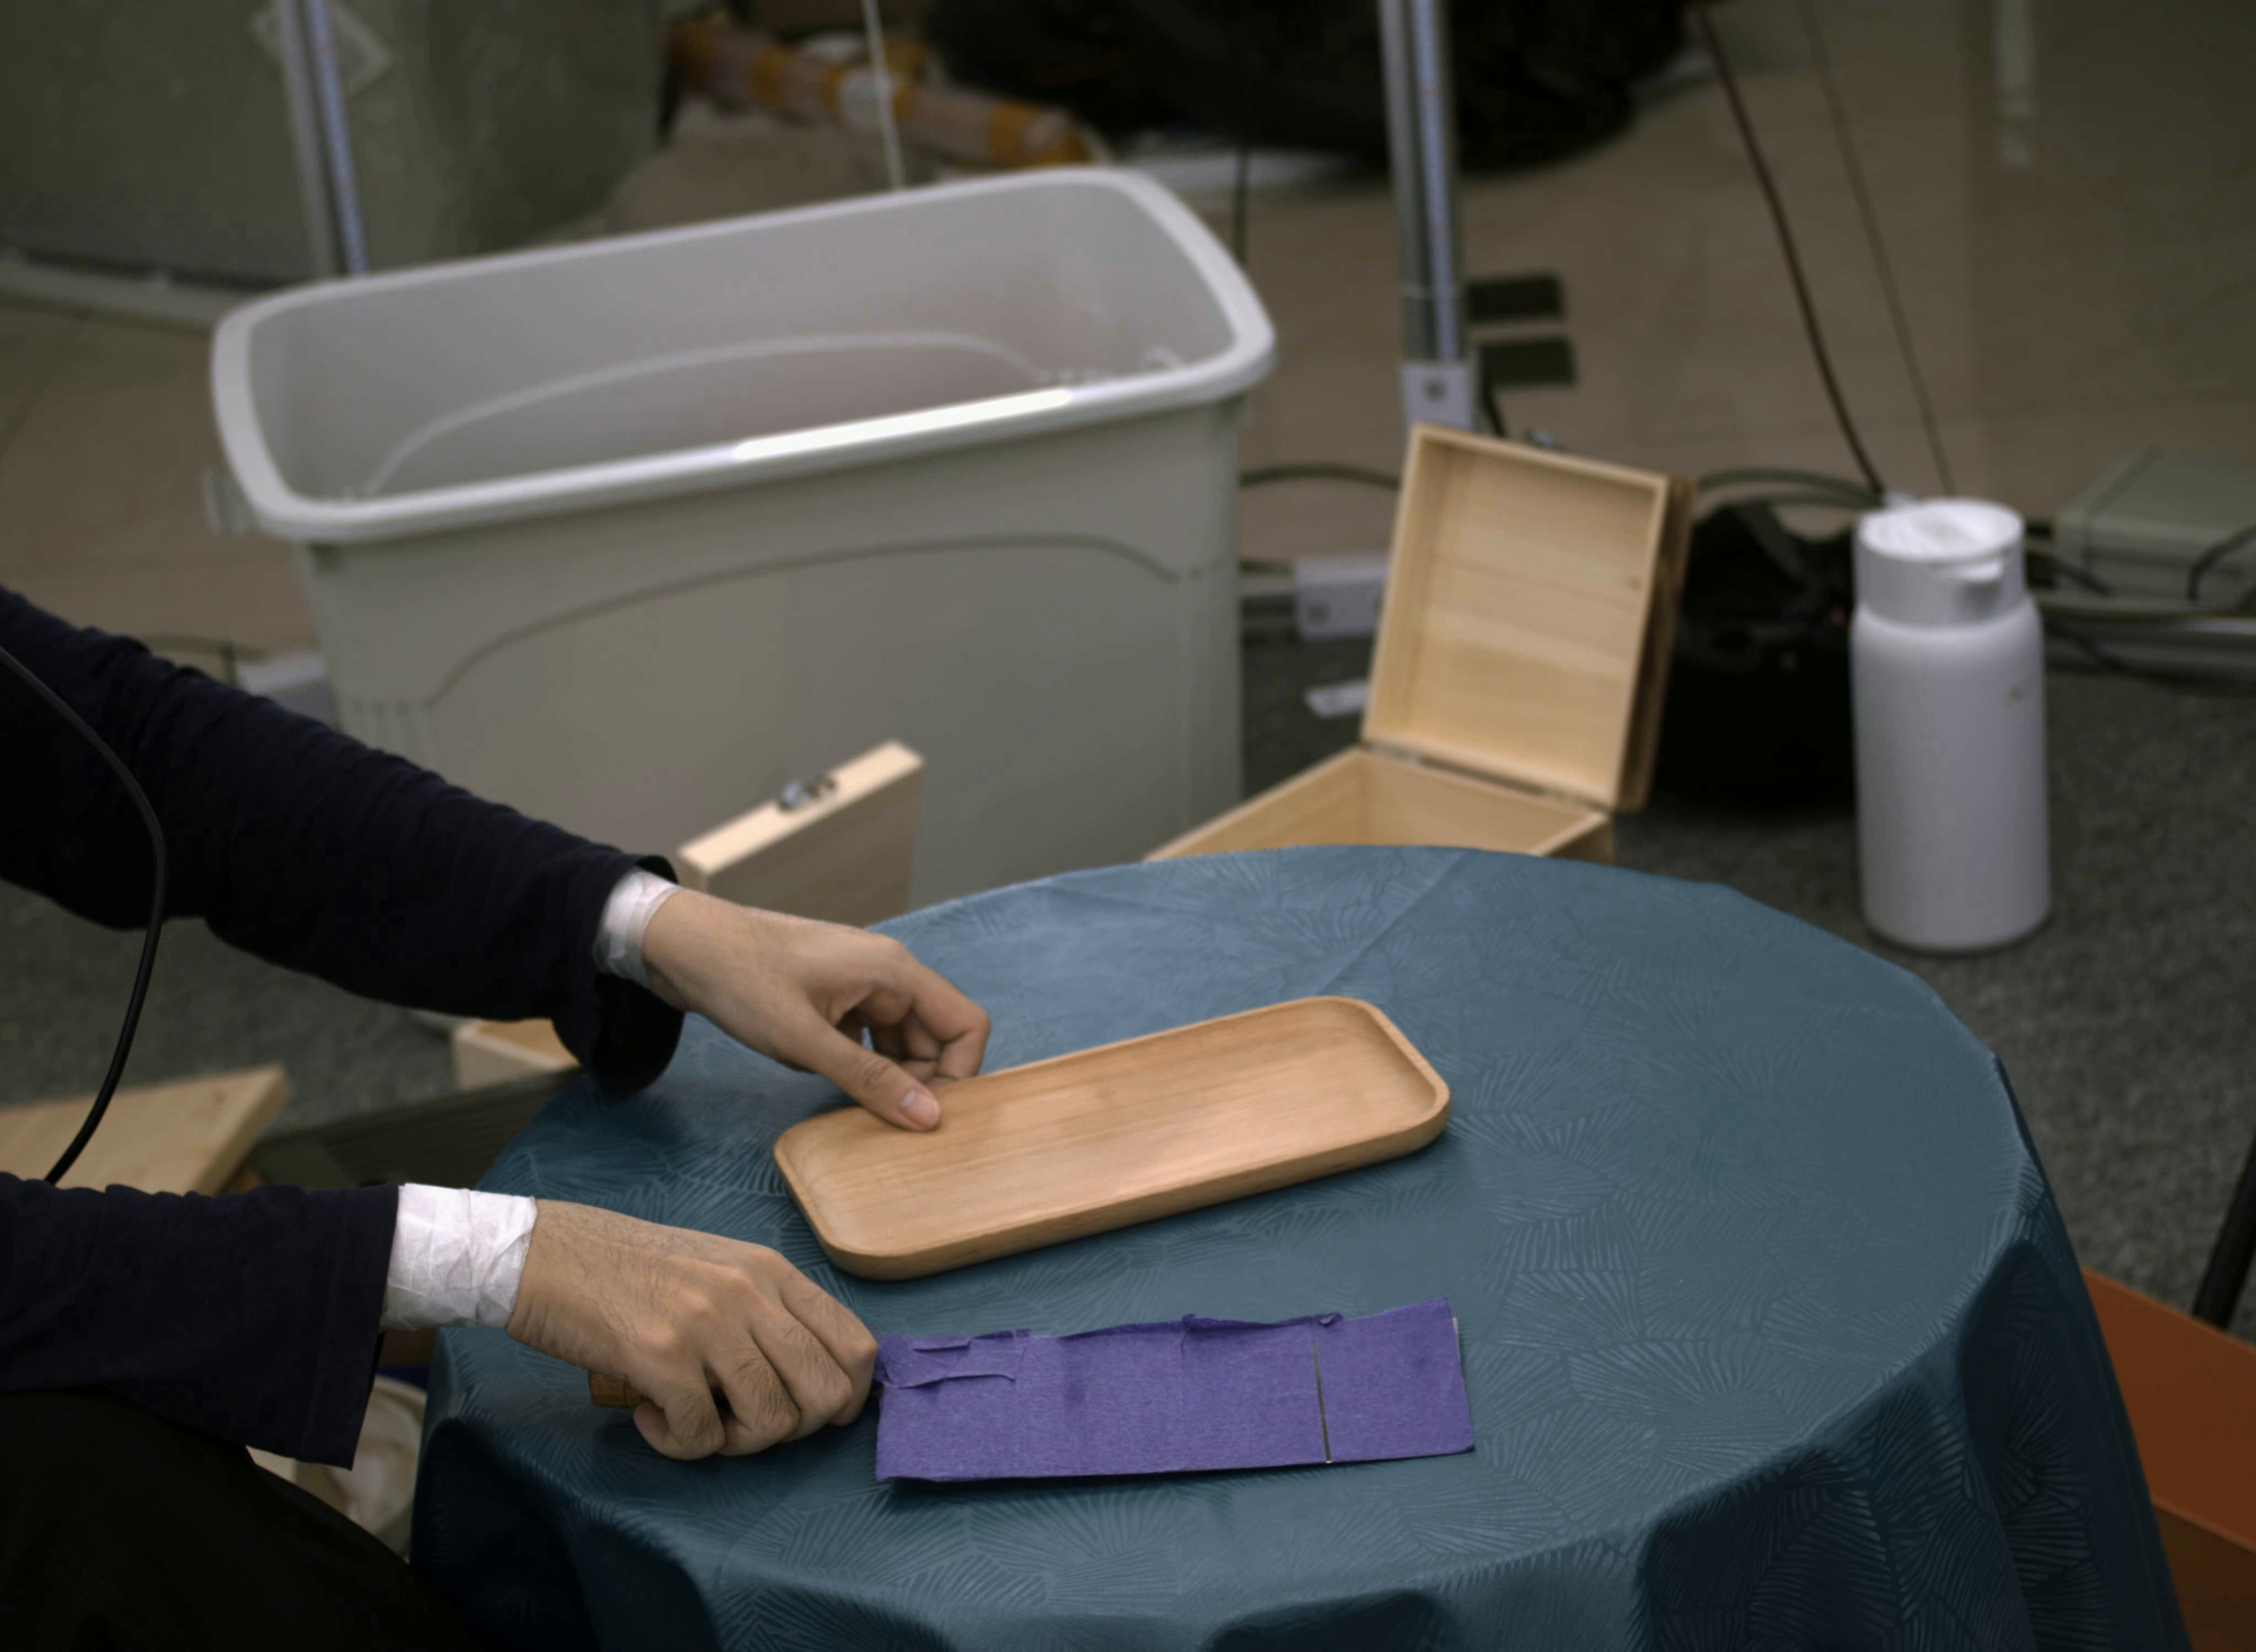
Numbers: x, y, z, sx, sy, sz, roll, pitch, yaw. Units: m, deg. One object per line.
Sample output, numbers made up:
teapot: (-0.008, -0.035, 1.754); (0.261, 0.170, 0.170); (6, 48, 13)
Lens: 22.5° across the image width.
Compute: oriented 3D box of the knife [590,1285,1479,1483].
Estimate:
knife: (-0.035, 0.199, 1.998); (0.315, 0.033, 0.102); (-5, 26, 2)

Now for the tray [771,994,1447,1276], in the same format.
tray: (-0.008, 0.118, 2.179); (0.250, 0.023, 0.129); (-13, 23, -11)
